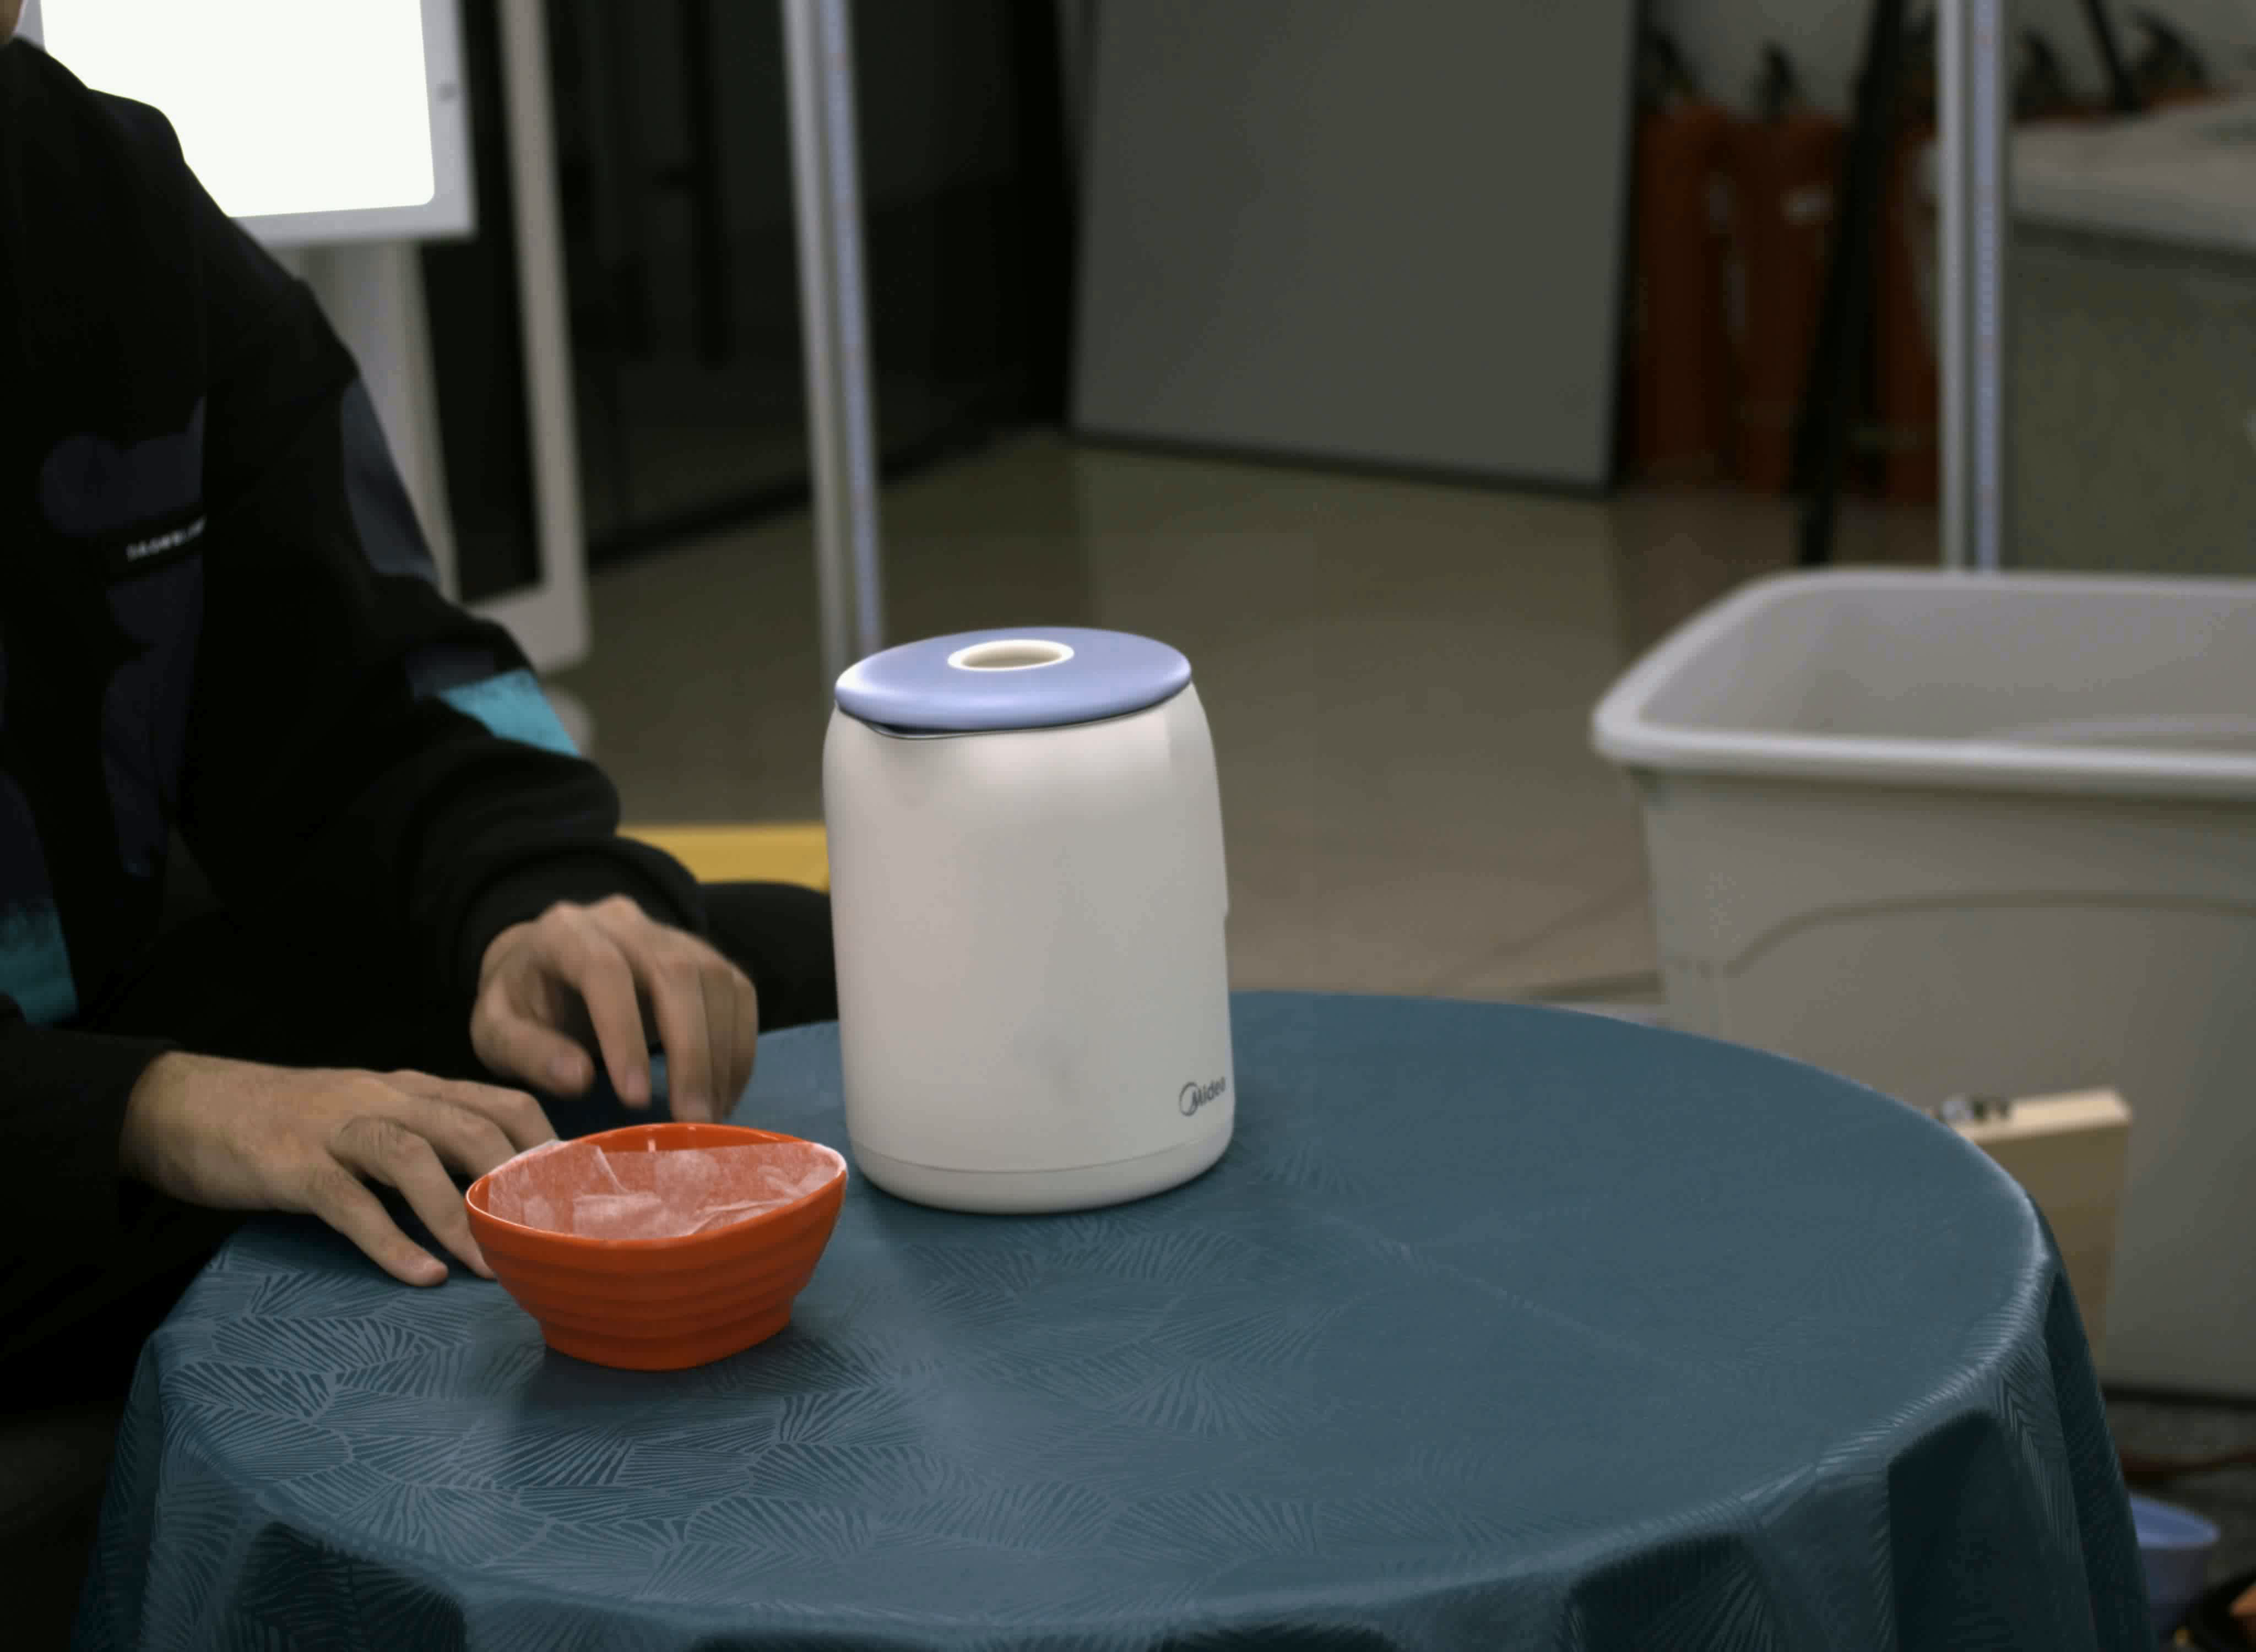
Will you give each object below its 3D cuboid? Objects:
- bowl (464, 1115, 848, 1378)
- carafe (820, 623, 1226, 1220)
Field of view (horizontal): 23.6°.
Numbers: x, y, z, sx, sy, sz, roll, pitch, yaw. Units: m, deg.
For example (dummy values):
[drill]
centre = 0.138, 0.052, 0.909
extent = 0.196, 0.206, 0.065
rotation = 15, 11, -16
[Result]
[bowl]
centre = -0.143, 0.131, 1.661
extent = 0.117, 0.052, 0.119
rotation = -4, 16, 0
[carafe]
centre = -0.023, 0.025, 1.809
extent = 0.133, 0.184, 0.188
rotation = 5, 14, 29
